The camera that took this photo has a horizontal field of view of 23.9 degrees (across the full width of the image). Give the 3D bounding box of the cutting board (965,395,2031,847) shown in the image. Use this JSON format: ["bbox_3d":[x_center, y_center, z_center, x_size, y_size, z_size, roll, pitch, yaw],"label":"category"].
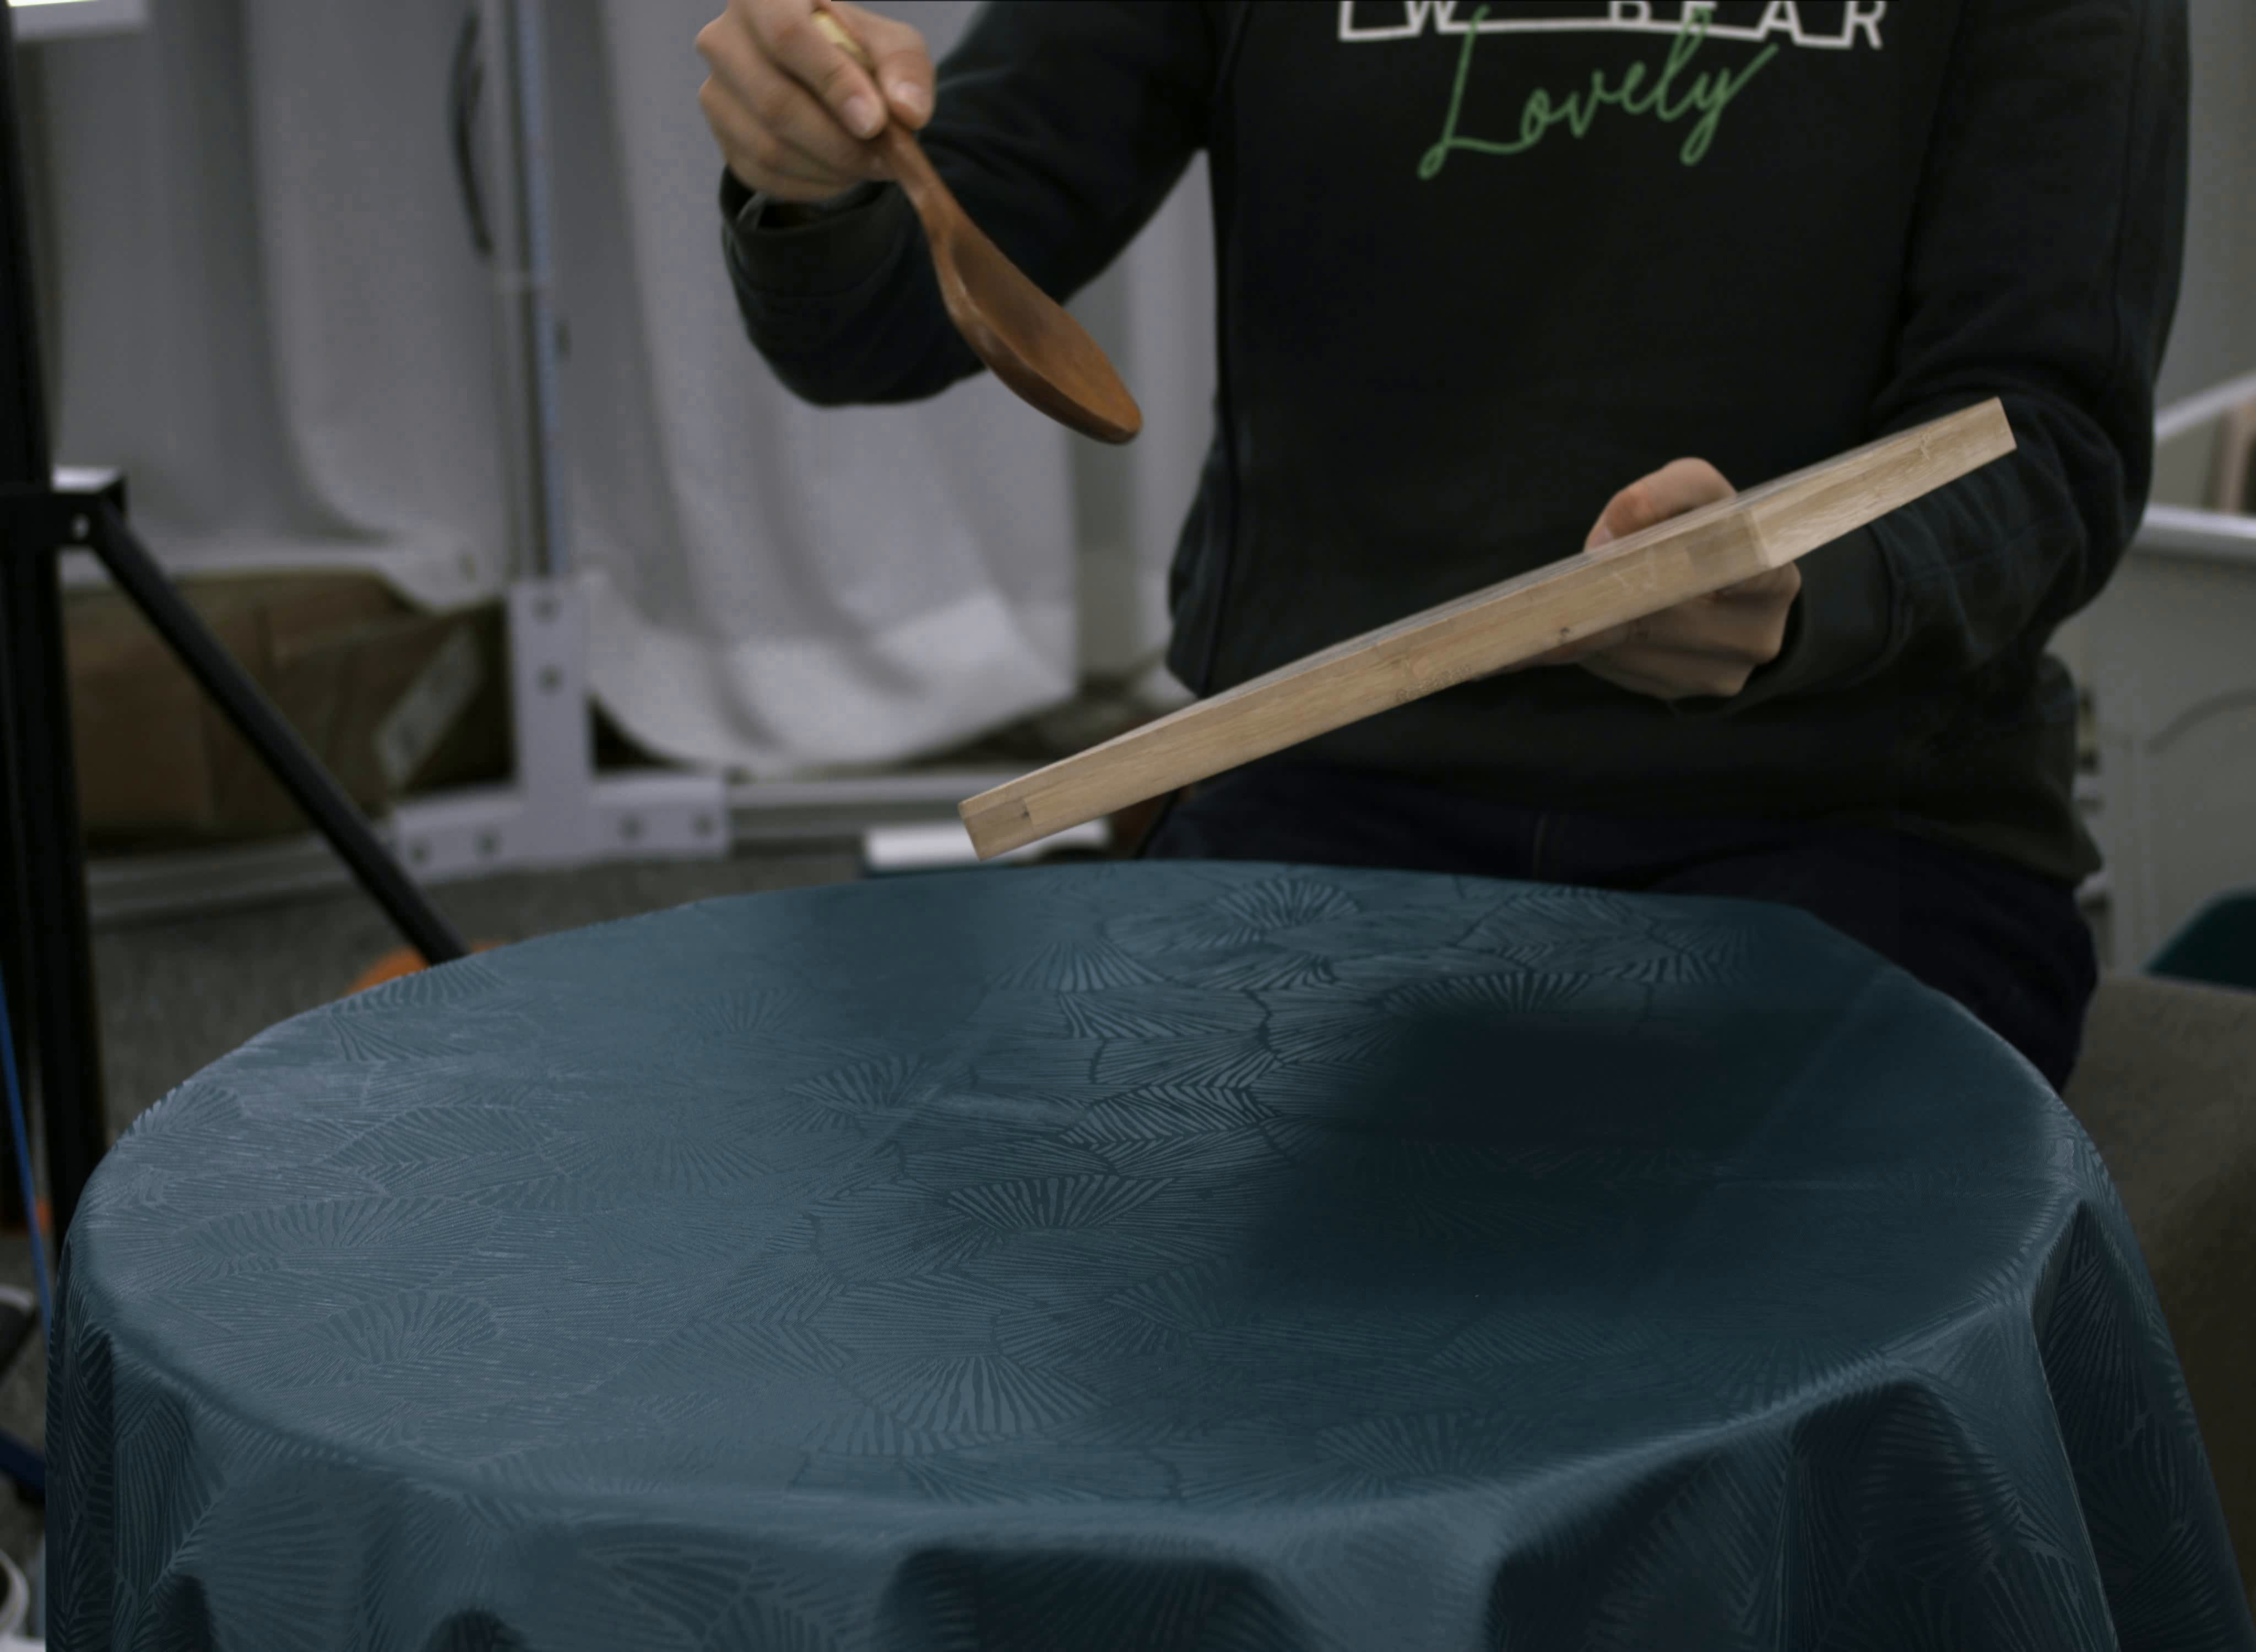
[{"bbox_3d":[0.120,-0.063,1.565,0.253,0.023,0.344,-19,2,21],"label":"cutting board"}]

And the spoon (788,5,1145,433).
[{"bbox_3d":[-0.057,-0.187,1.656,0.073,0.017,0.220,17,30,-42],"label":"spoon"}]
